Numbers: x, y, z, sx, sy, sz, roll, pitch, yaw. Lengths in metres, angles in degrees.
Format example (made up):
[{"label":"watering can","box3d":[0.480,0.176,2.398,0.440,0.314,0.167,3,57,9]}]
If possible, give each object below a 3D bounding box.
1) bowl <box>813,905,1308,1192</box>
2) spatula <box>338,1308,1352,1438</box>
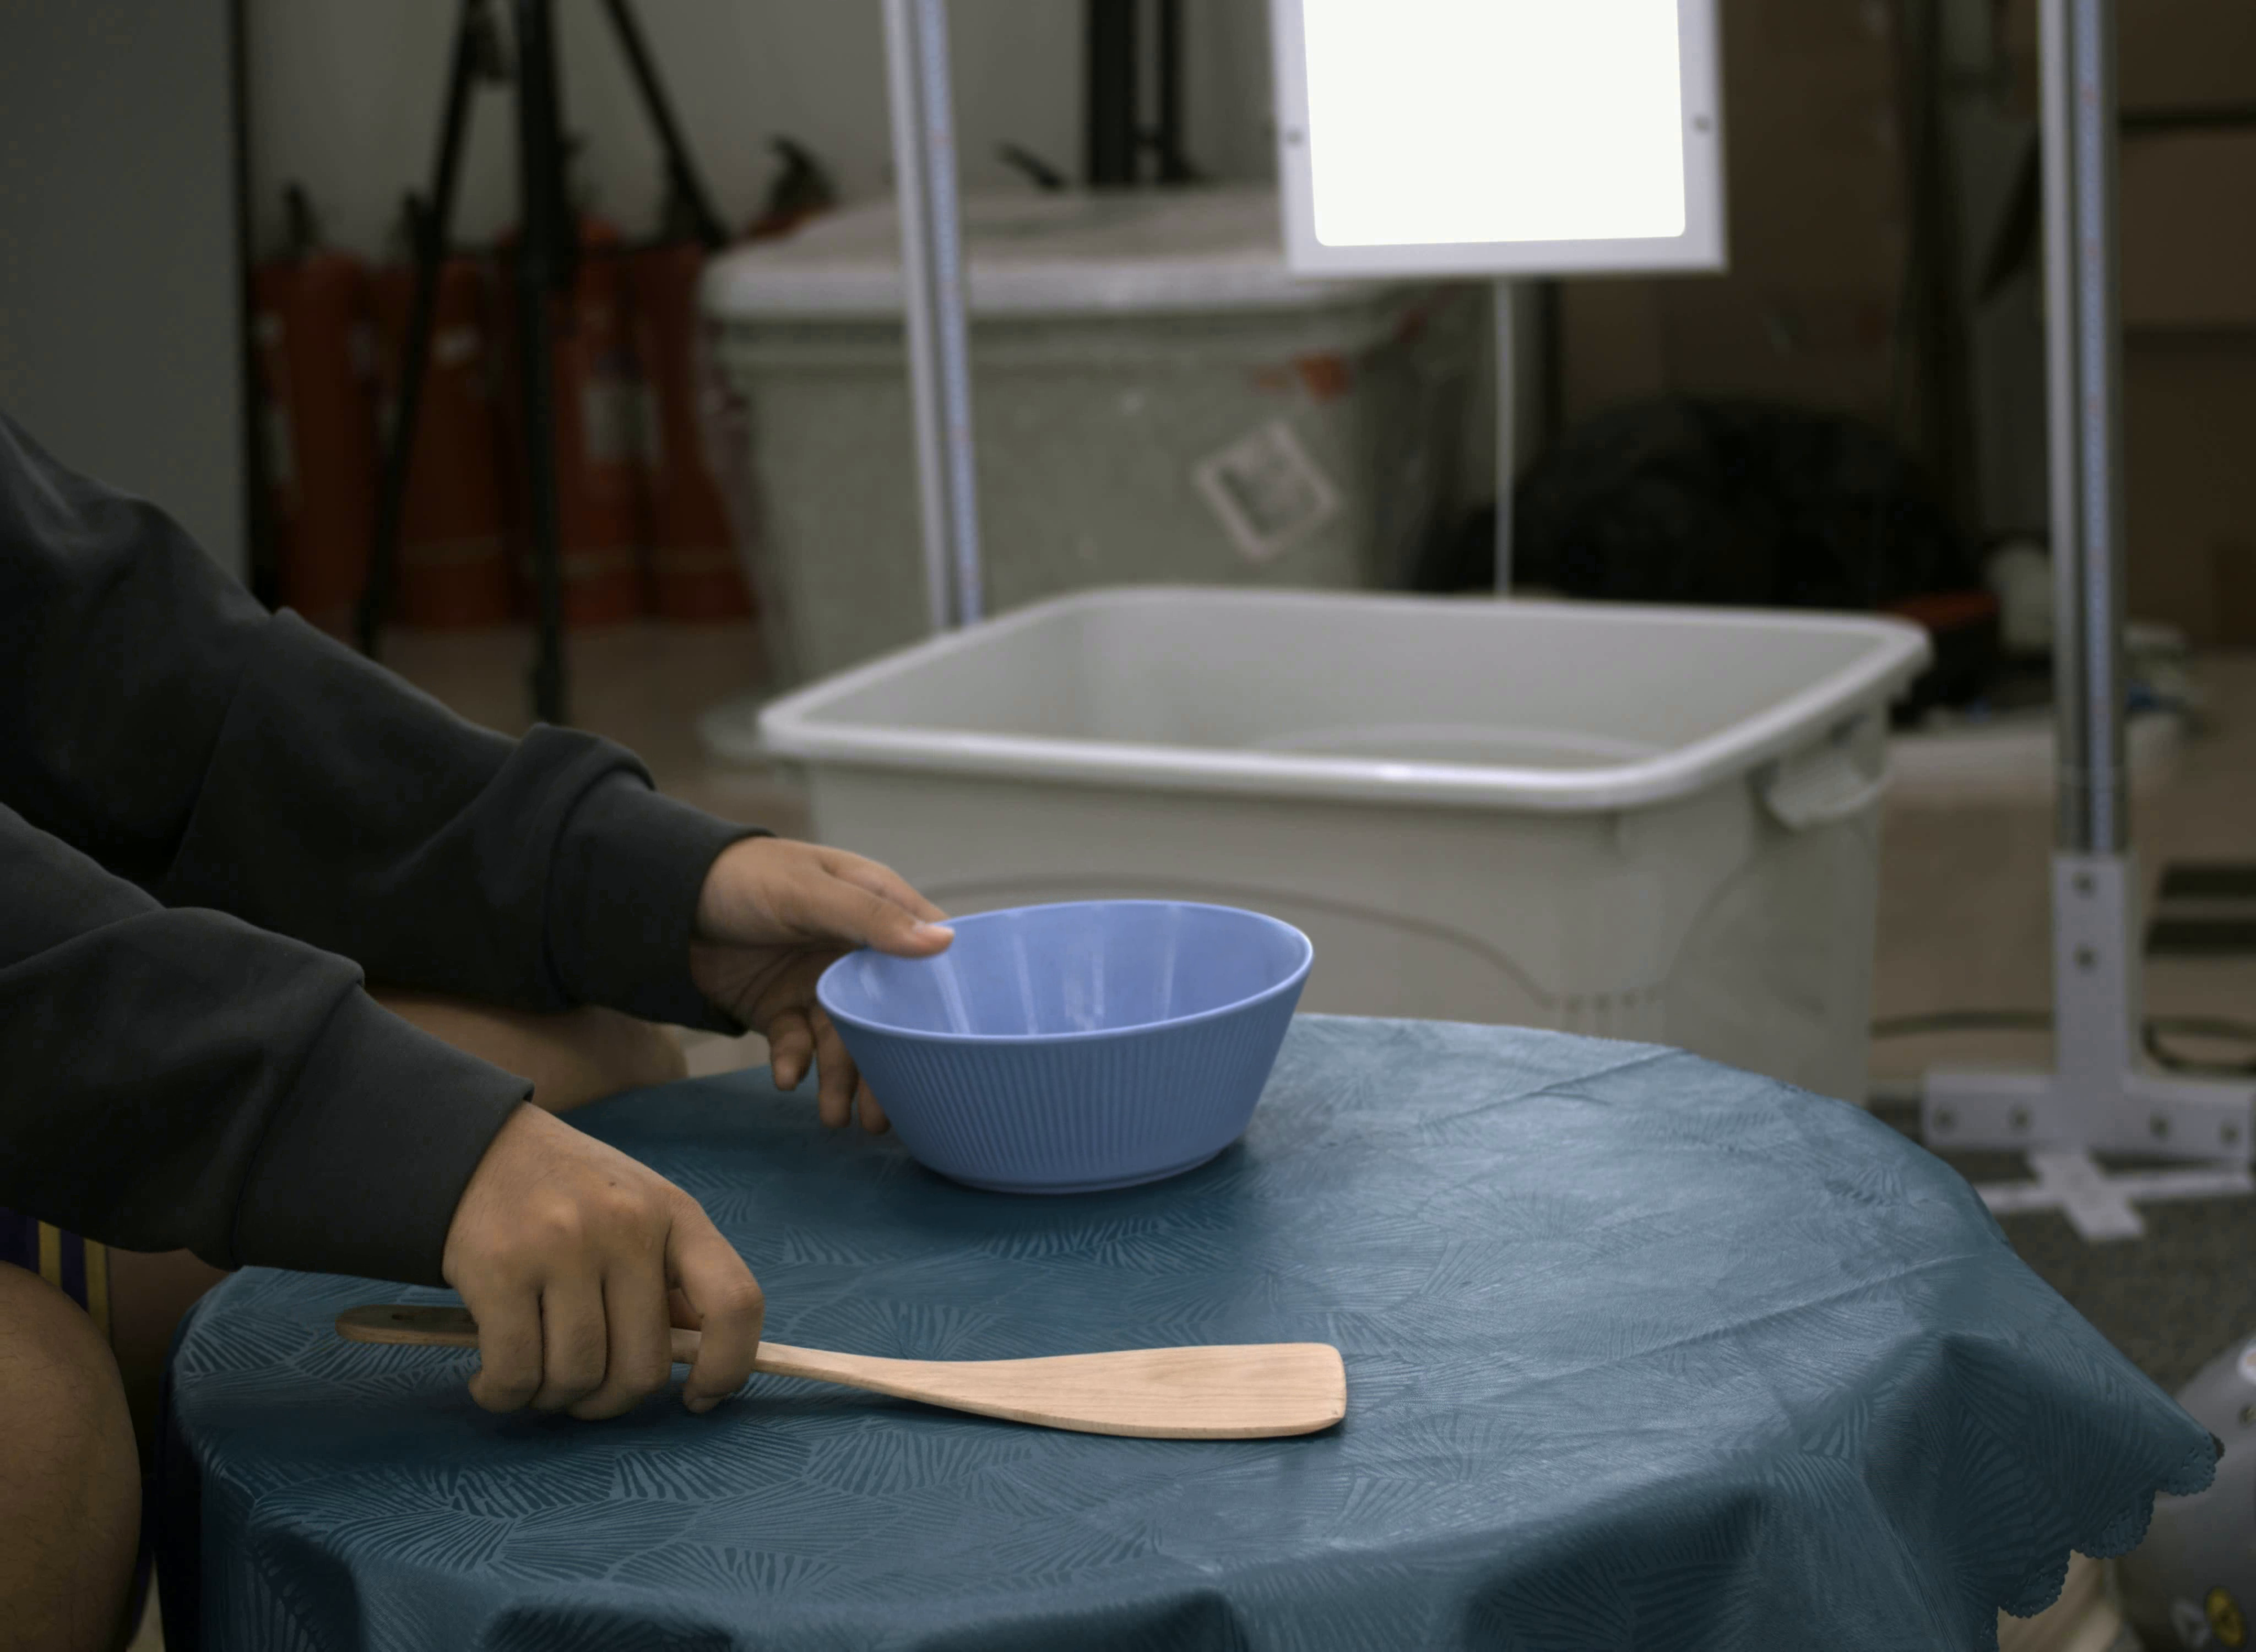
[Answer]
[{"label":"bowl","box3d":[-0.022,0.081,1.944,0.175,0.070,0.176,-5,14,0]},{"label":"spatula","box3d":[-0.088,0.164,1.712,0.330,0.016,0.079,4,15,13]}]
